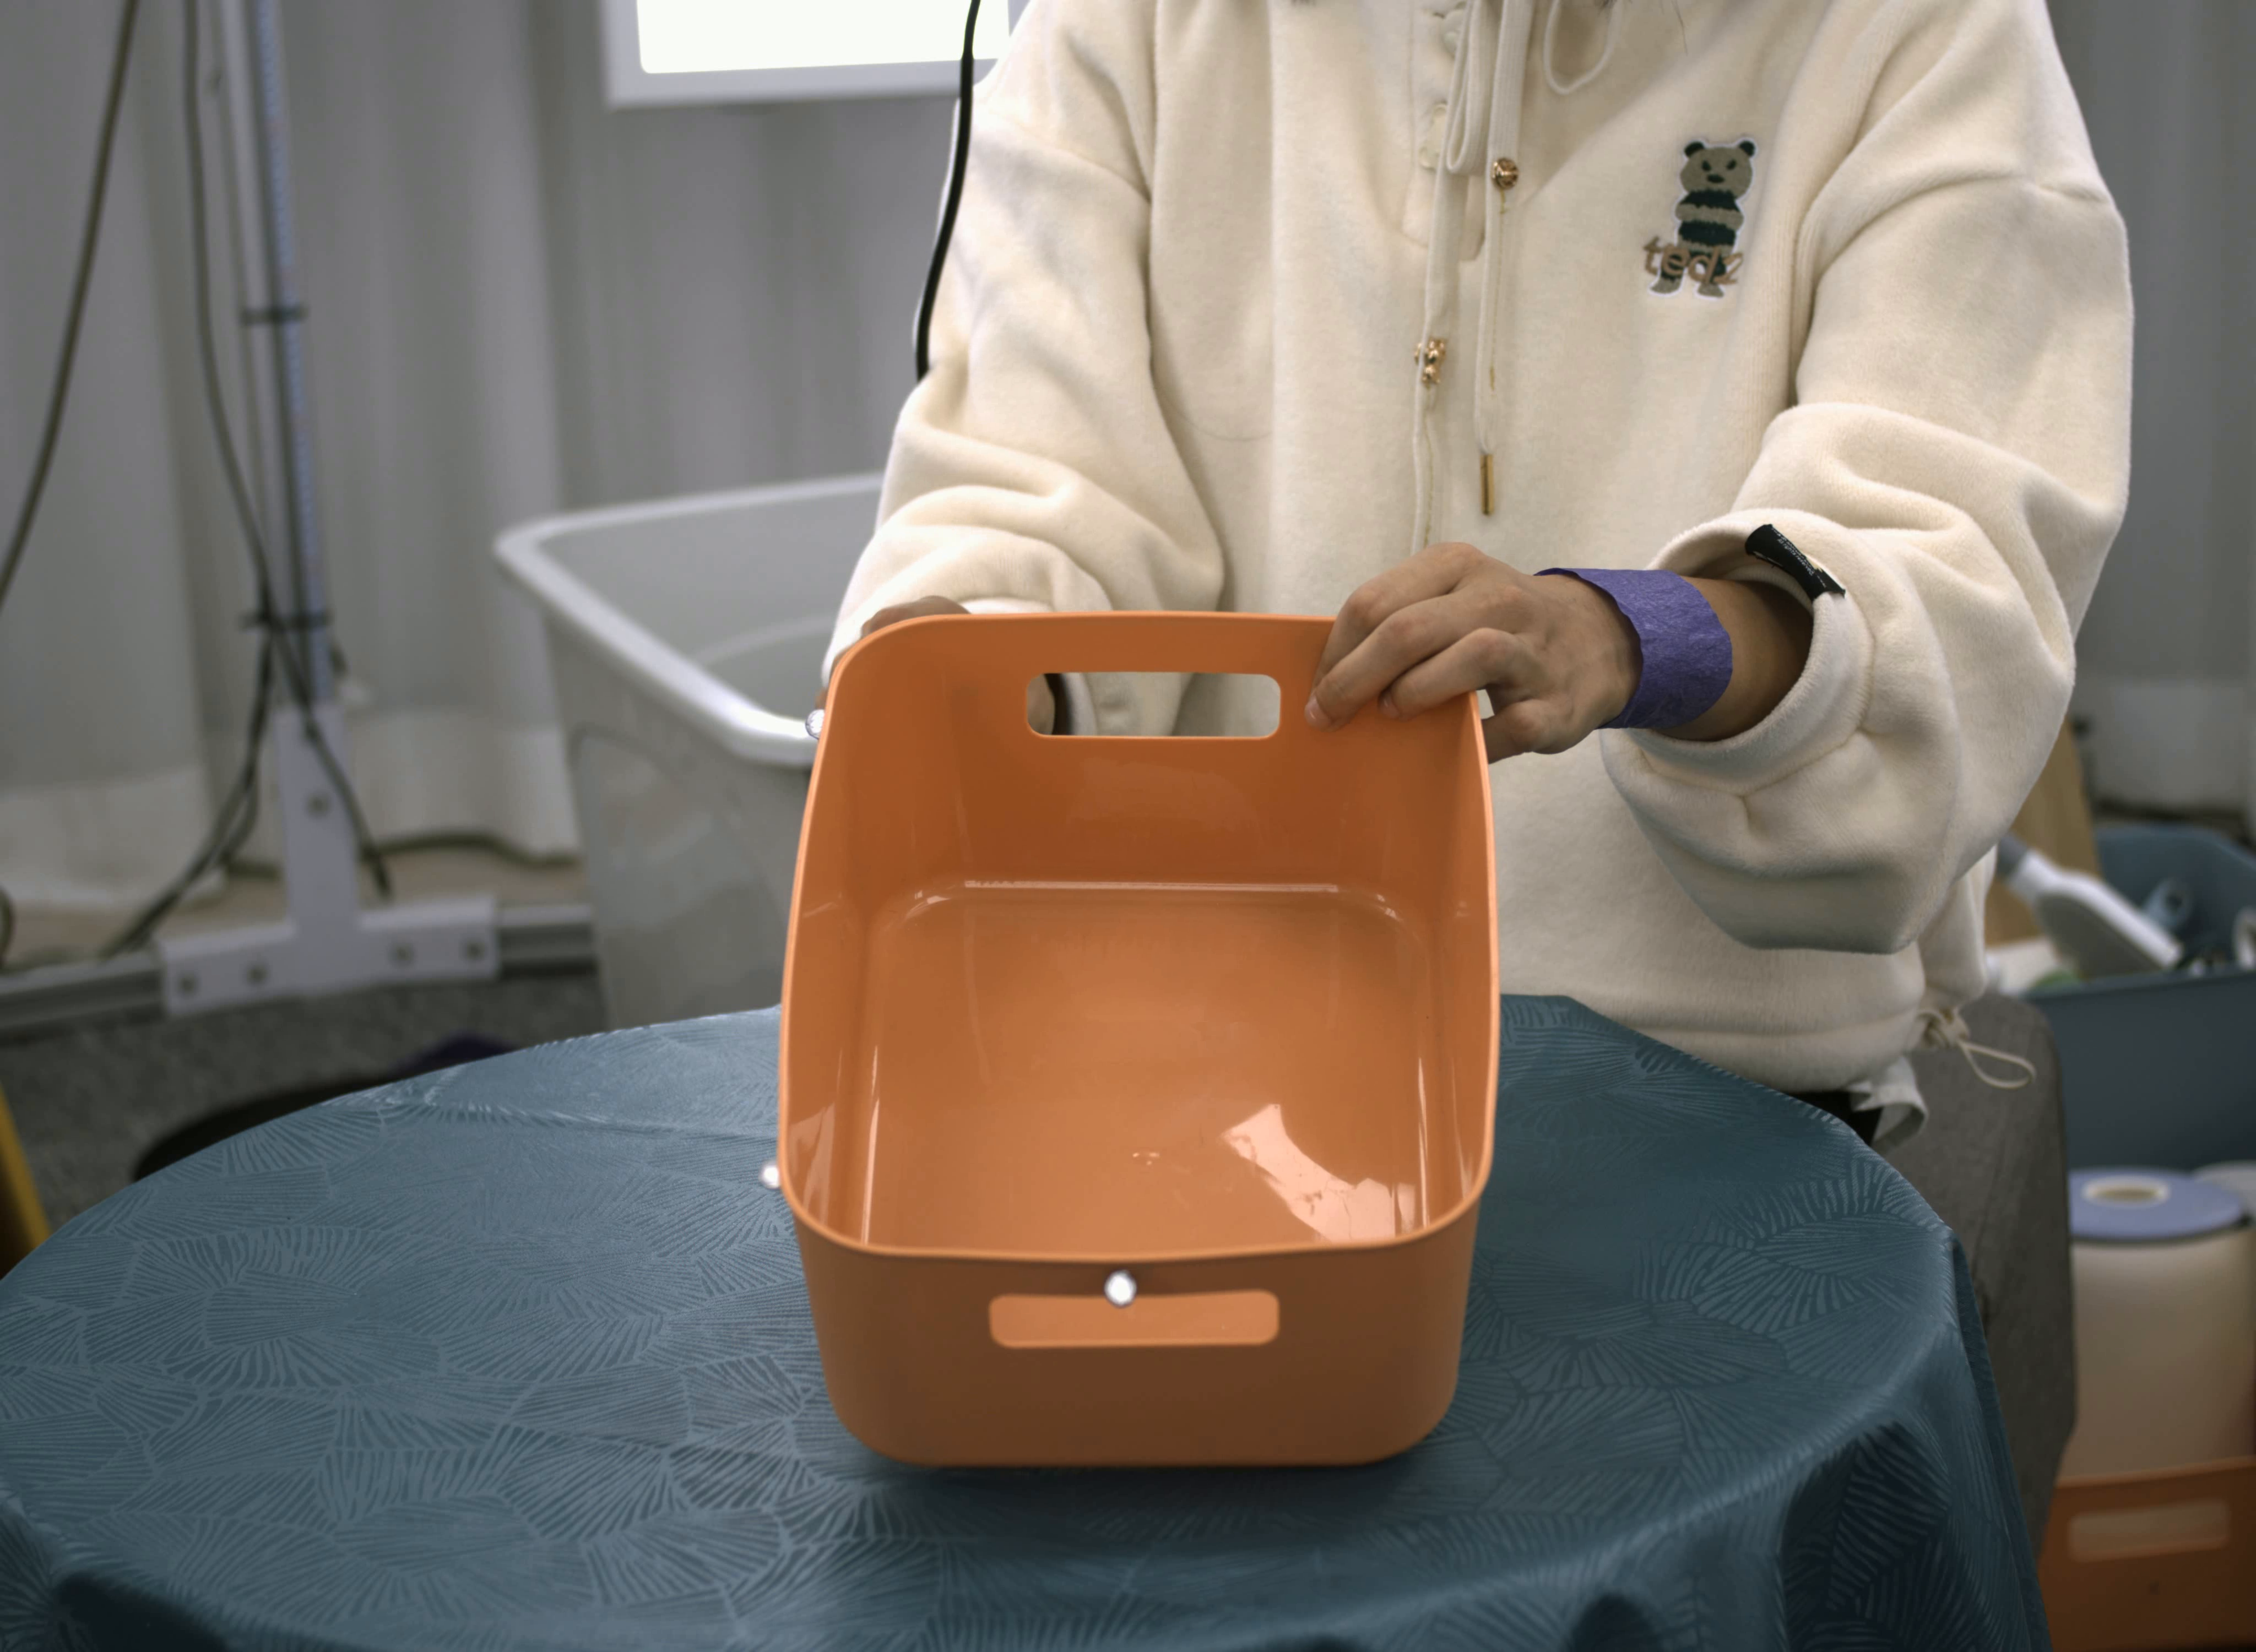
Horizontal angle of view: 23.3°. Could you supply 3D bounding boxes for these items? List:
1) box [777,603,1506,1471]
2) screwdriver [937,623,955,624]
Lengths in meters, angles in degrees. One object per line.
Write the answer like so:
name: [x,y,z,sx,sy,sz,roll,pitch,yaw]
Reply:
box: [0.006,0.060,1.543,0.199,0.101,0.277,-1,40,2]
screwdriver: [-0.051,-0.050,1.740,0.031,0.031,0.198,-5,2,-8]
